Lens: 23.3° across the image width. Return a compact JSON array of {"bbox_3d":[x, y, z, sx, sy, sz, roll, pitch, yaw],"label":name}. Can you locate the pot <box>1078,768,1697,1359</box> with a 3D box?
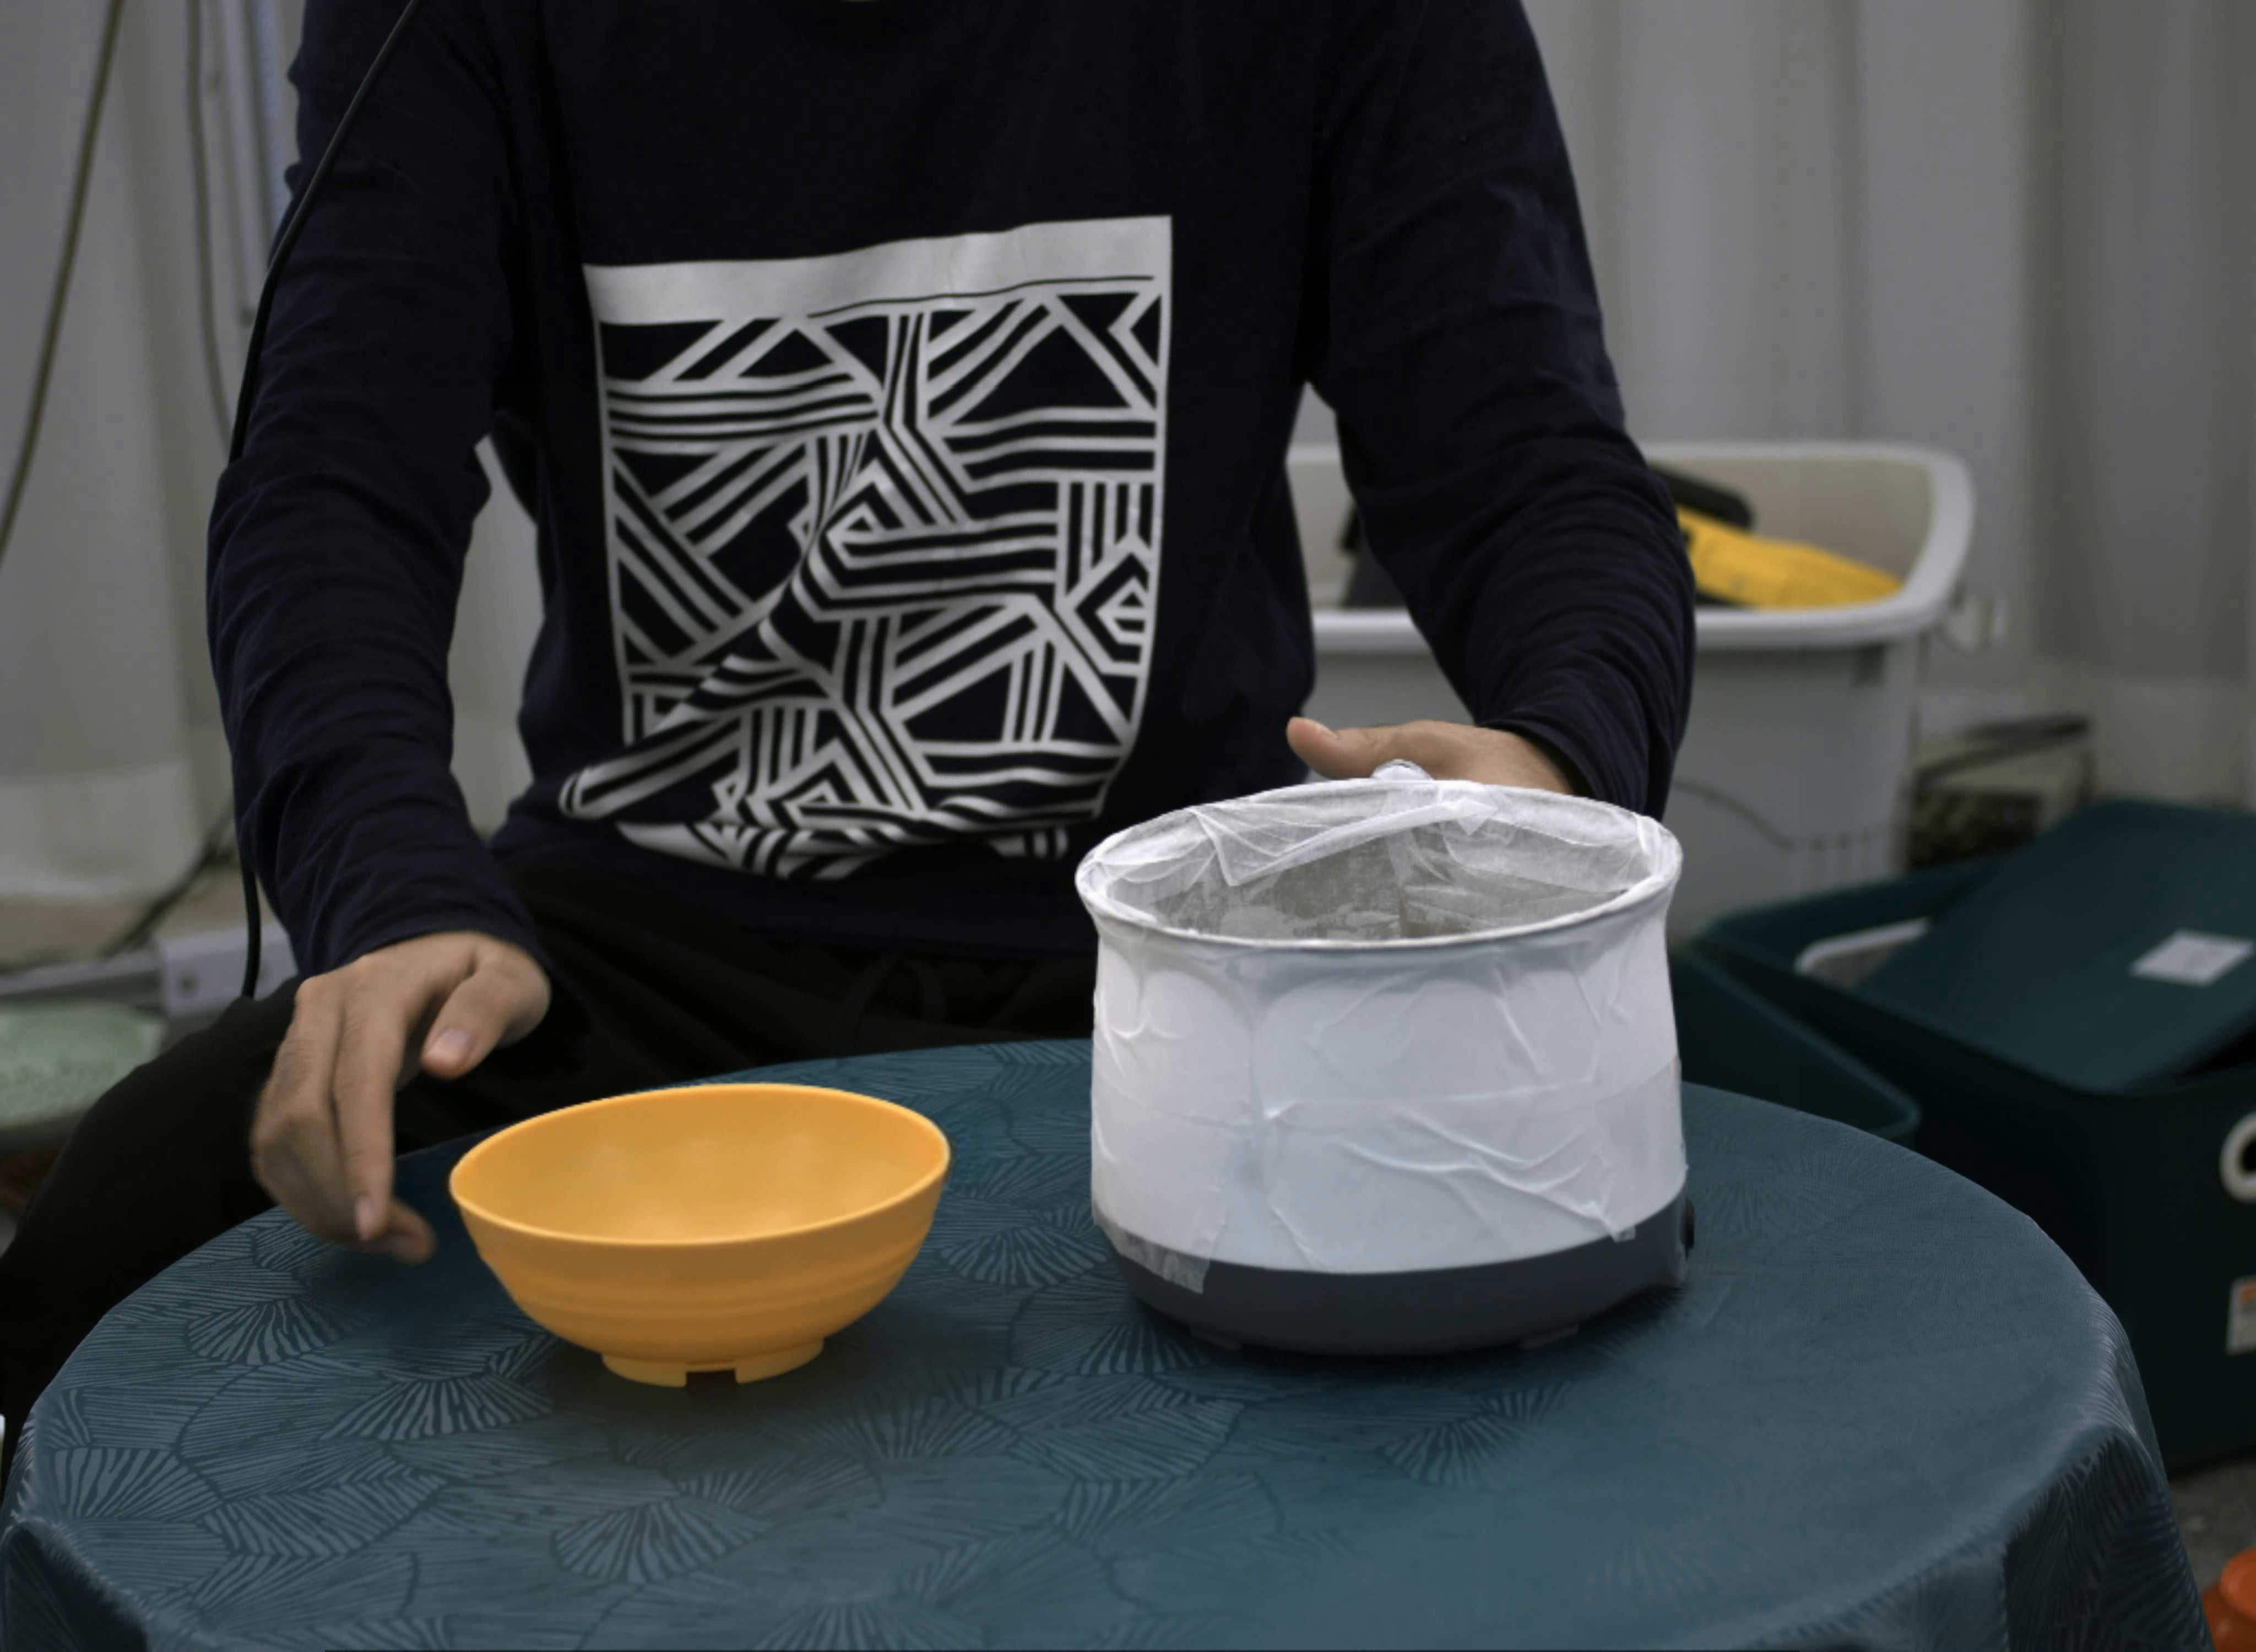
[{"bbox_3d":[0.079,0.066,1.631,0.178,0.136,0.235,-1,13,6],"label":"pot"}]

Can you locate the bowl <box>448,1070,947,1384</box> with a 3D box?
[{"bbox_3d":[-0.124,0.122,1.590,0.145,0.060,0.146,-1,16,0],"label":"bowl"}]
